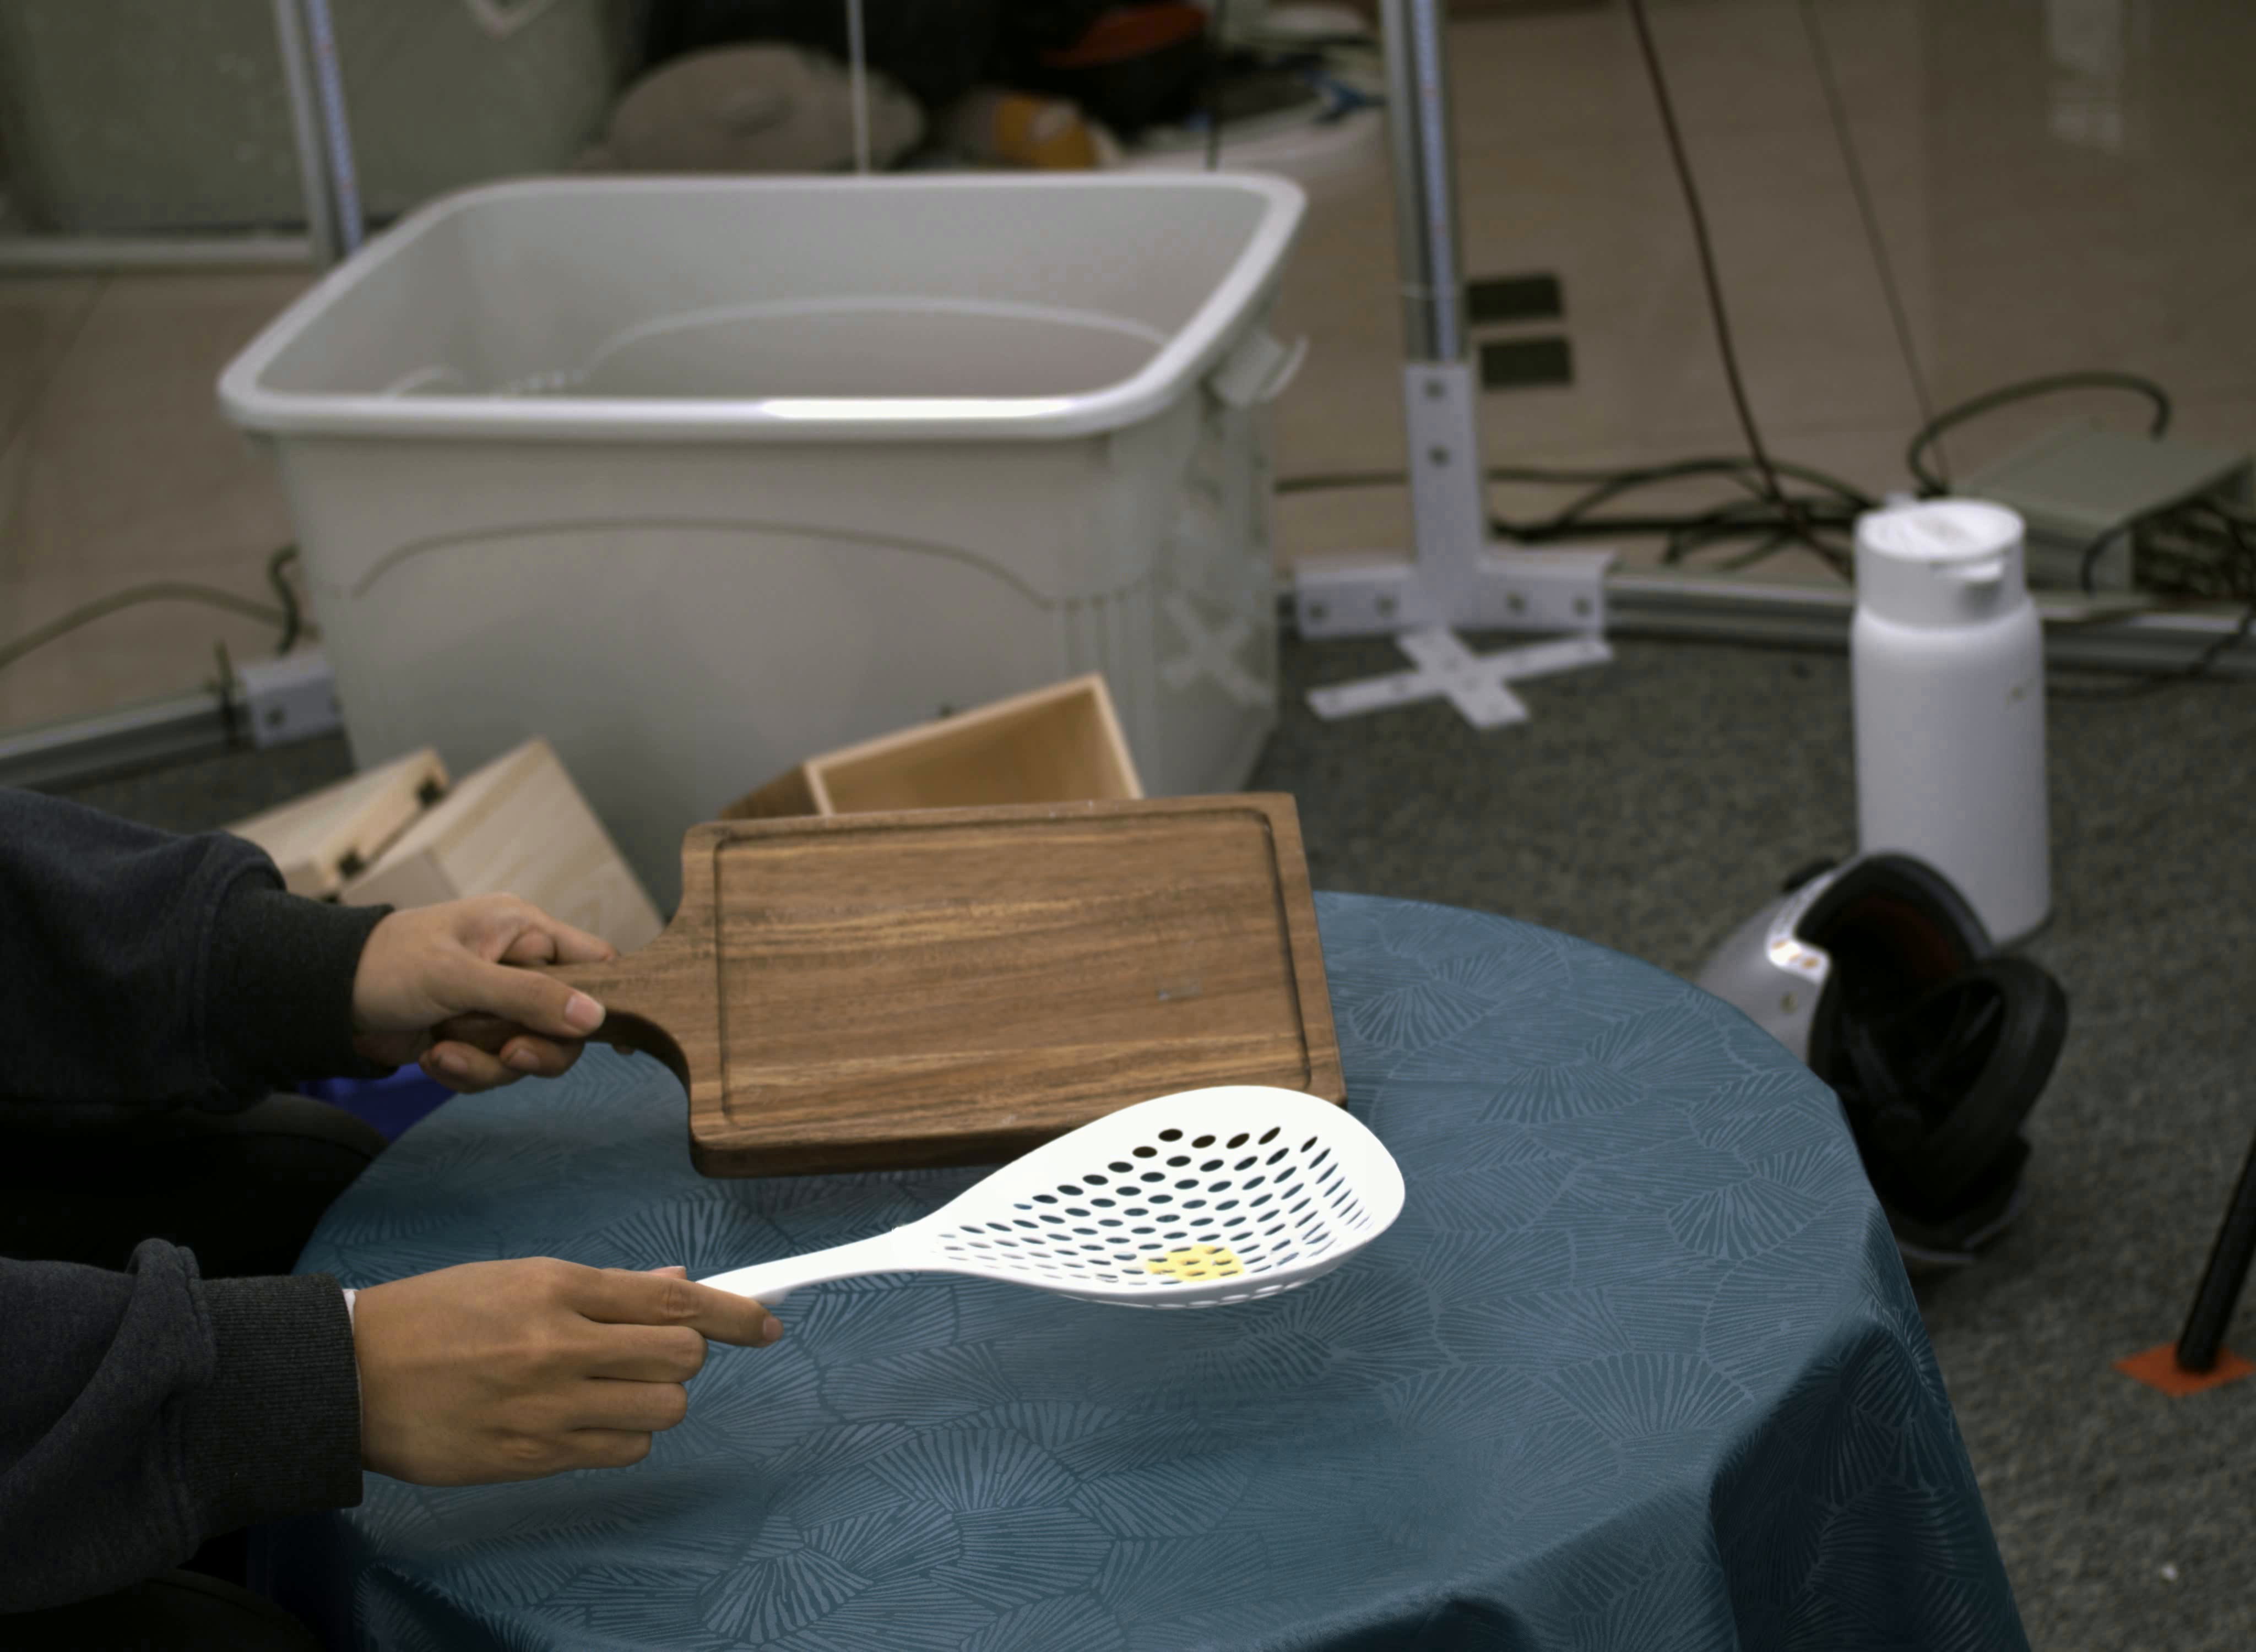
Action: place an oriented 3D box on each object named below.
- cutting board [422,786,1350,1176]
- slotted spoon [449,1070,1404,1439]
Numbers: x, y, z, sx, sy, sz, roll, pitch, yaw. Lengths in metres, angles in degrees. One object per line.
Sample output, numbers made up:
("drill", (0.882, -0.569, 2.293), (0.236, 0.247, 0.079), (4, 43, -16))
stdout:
("cutting board", (-0.099, 0.060, 2.209), (0.351, 0.023, 0.197), (-3, 40, -4))
("slotted spoon", (-0.072, 0.158, 2.000), (0.347, 0.051, 0.135), (-9, 29, -16))
